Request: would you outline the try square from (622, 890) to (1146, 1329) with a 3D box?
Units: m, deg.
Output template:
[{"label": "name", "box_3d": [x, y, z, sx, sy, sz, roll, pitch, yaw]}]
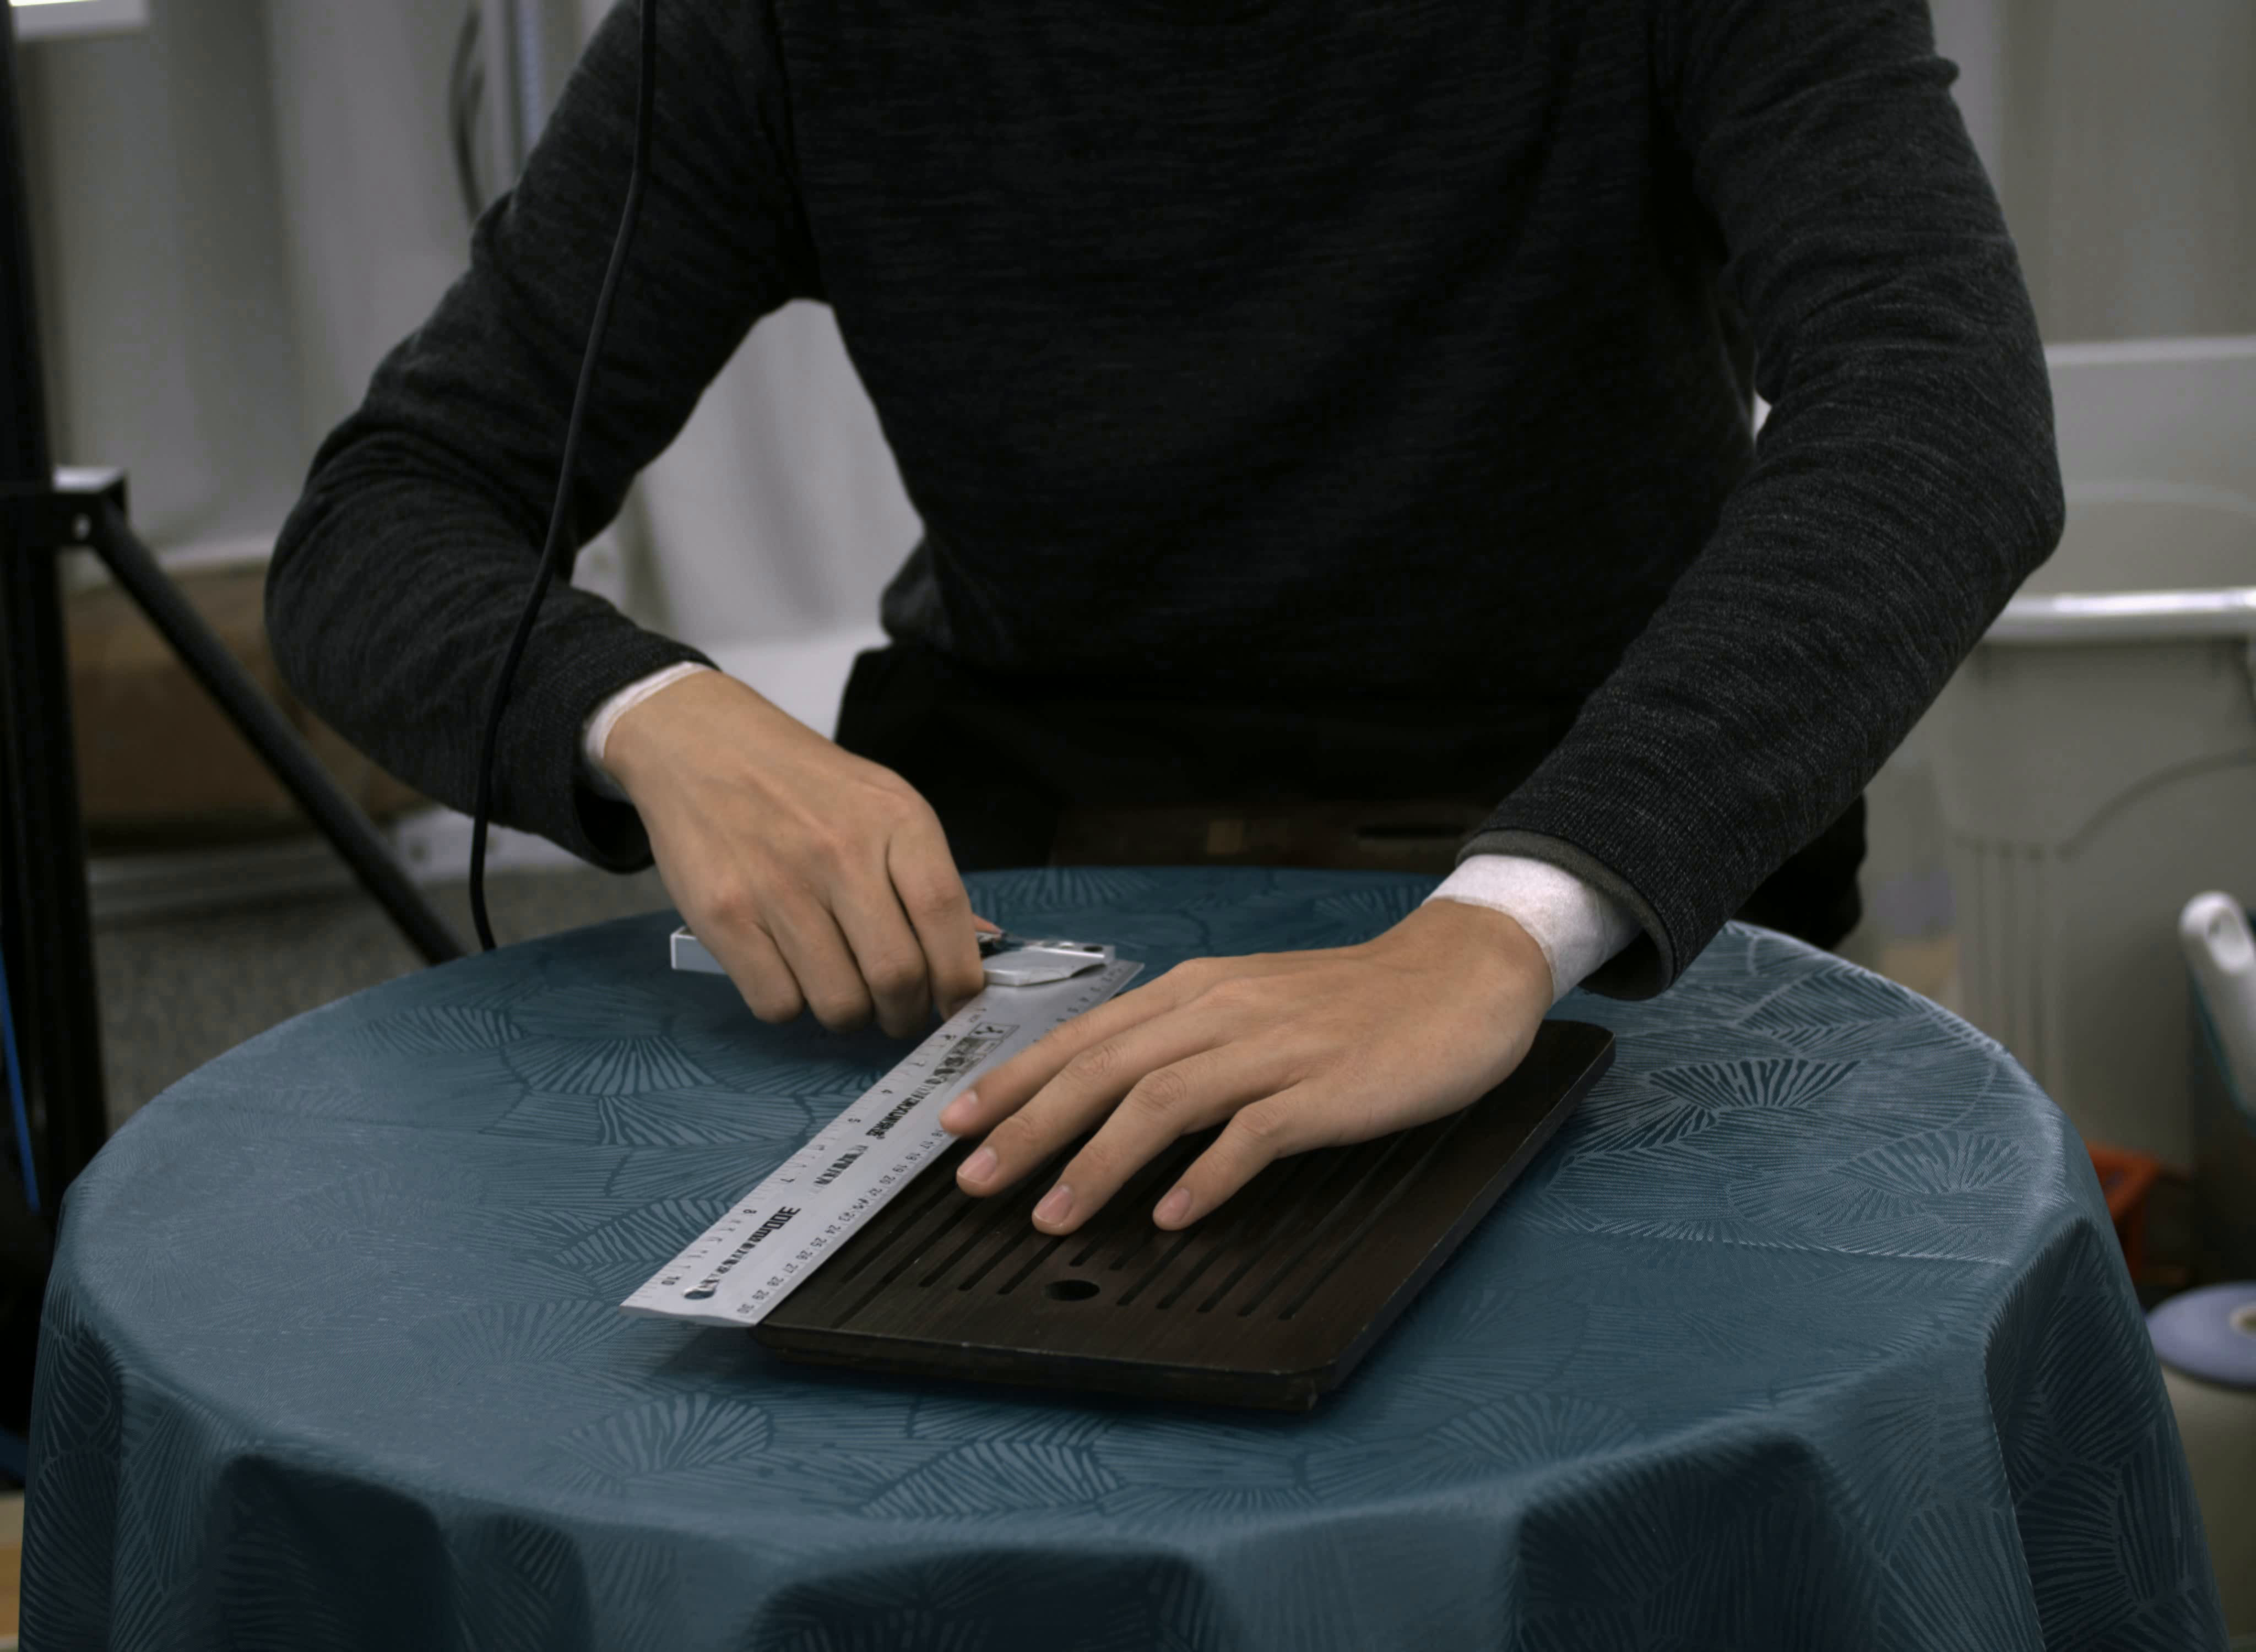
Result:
[{"label": "try square", "box_3d": [-0.116, 0.080, 1.585, 0.154, 0.016, 0.309, 7, 19, 19]}]

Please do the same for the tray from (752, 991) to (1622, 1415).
[{"label": "tray", "box_3d": [0.026, 0.105, 1.530, 0.172, 0.018, 0.302, 3, 17, 21]}]
